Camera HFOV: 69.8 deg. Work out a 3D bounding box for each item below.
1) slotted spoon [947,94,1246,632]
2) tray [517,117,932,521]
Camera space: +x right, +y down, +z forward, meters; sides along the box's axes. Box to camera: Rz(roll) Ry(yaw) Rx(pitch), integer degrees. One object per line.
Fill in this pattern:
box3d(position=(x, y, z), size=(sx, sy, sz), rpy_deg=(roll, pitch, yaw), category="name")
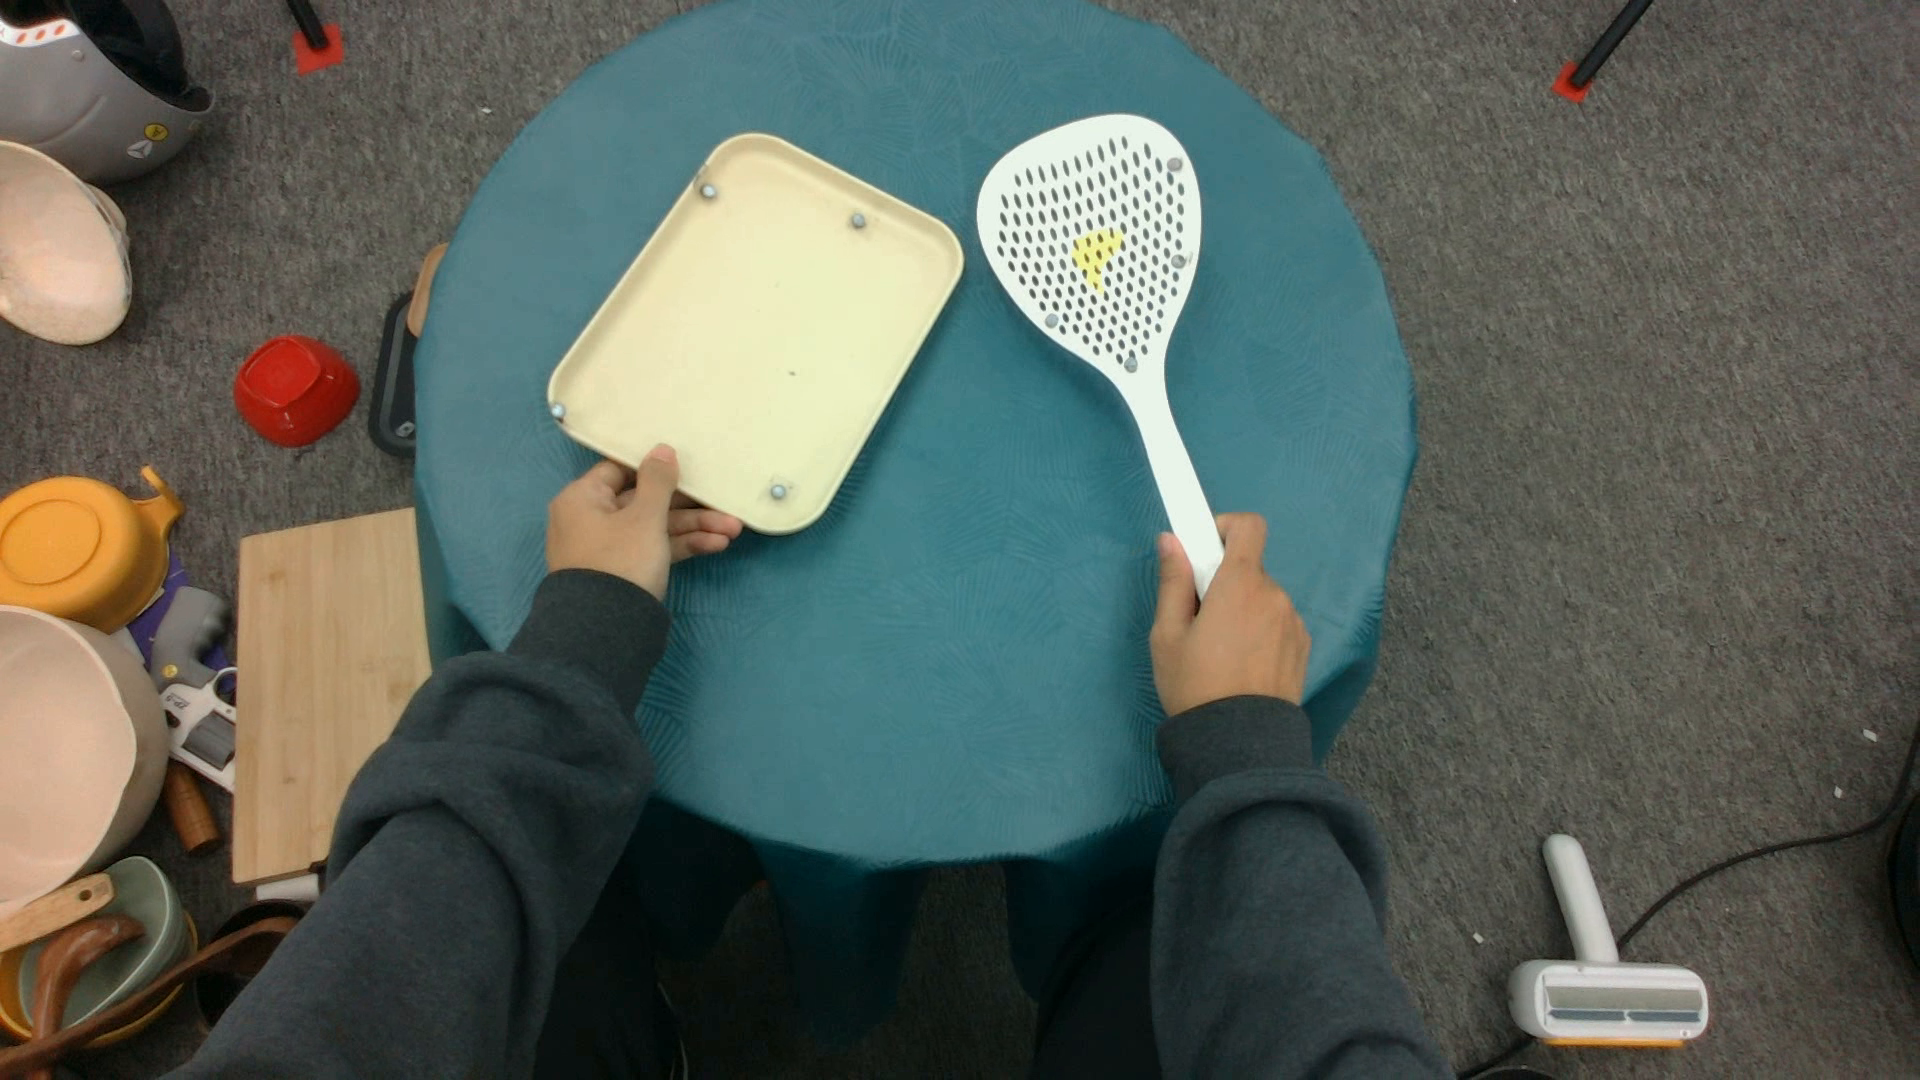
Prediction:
box3d(position=(0.093, -0.109, 0.808), size=(0.137, 0.050, 0.349), rpy_deg=(-18, 67, 3), category="slotted spoon")
box3d(position=(-0.131, -0.133, 0.806), size=(0.171, 0.017, 0.240), rpy_deg=(27, 65, -1), category="tray")
